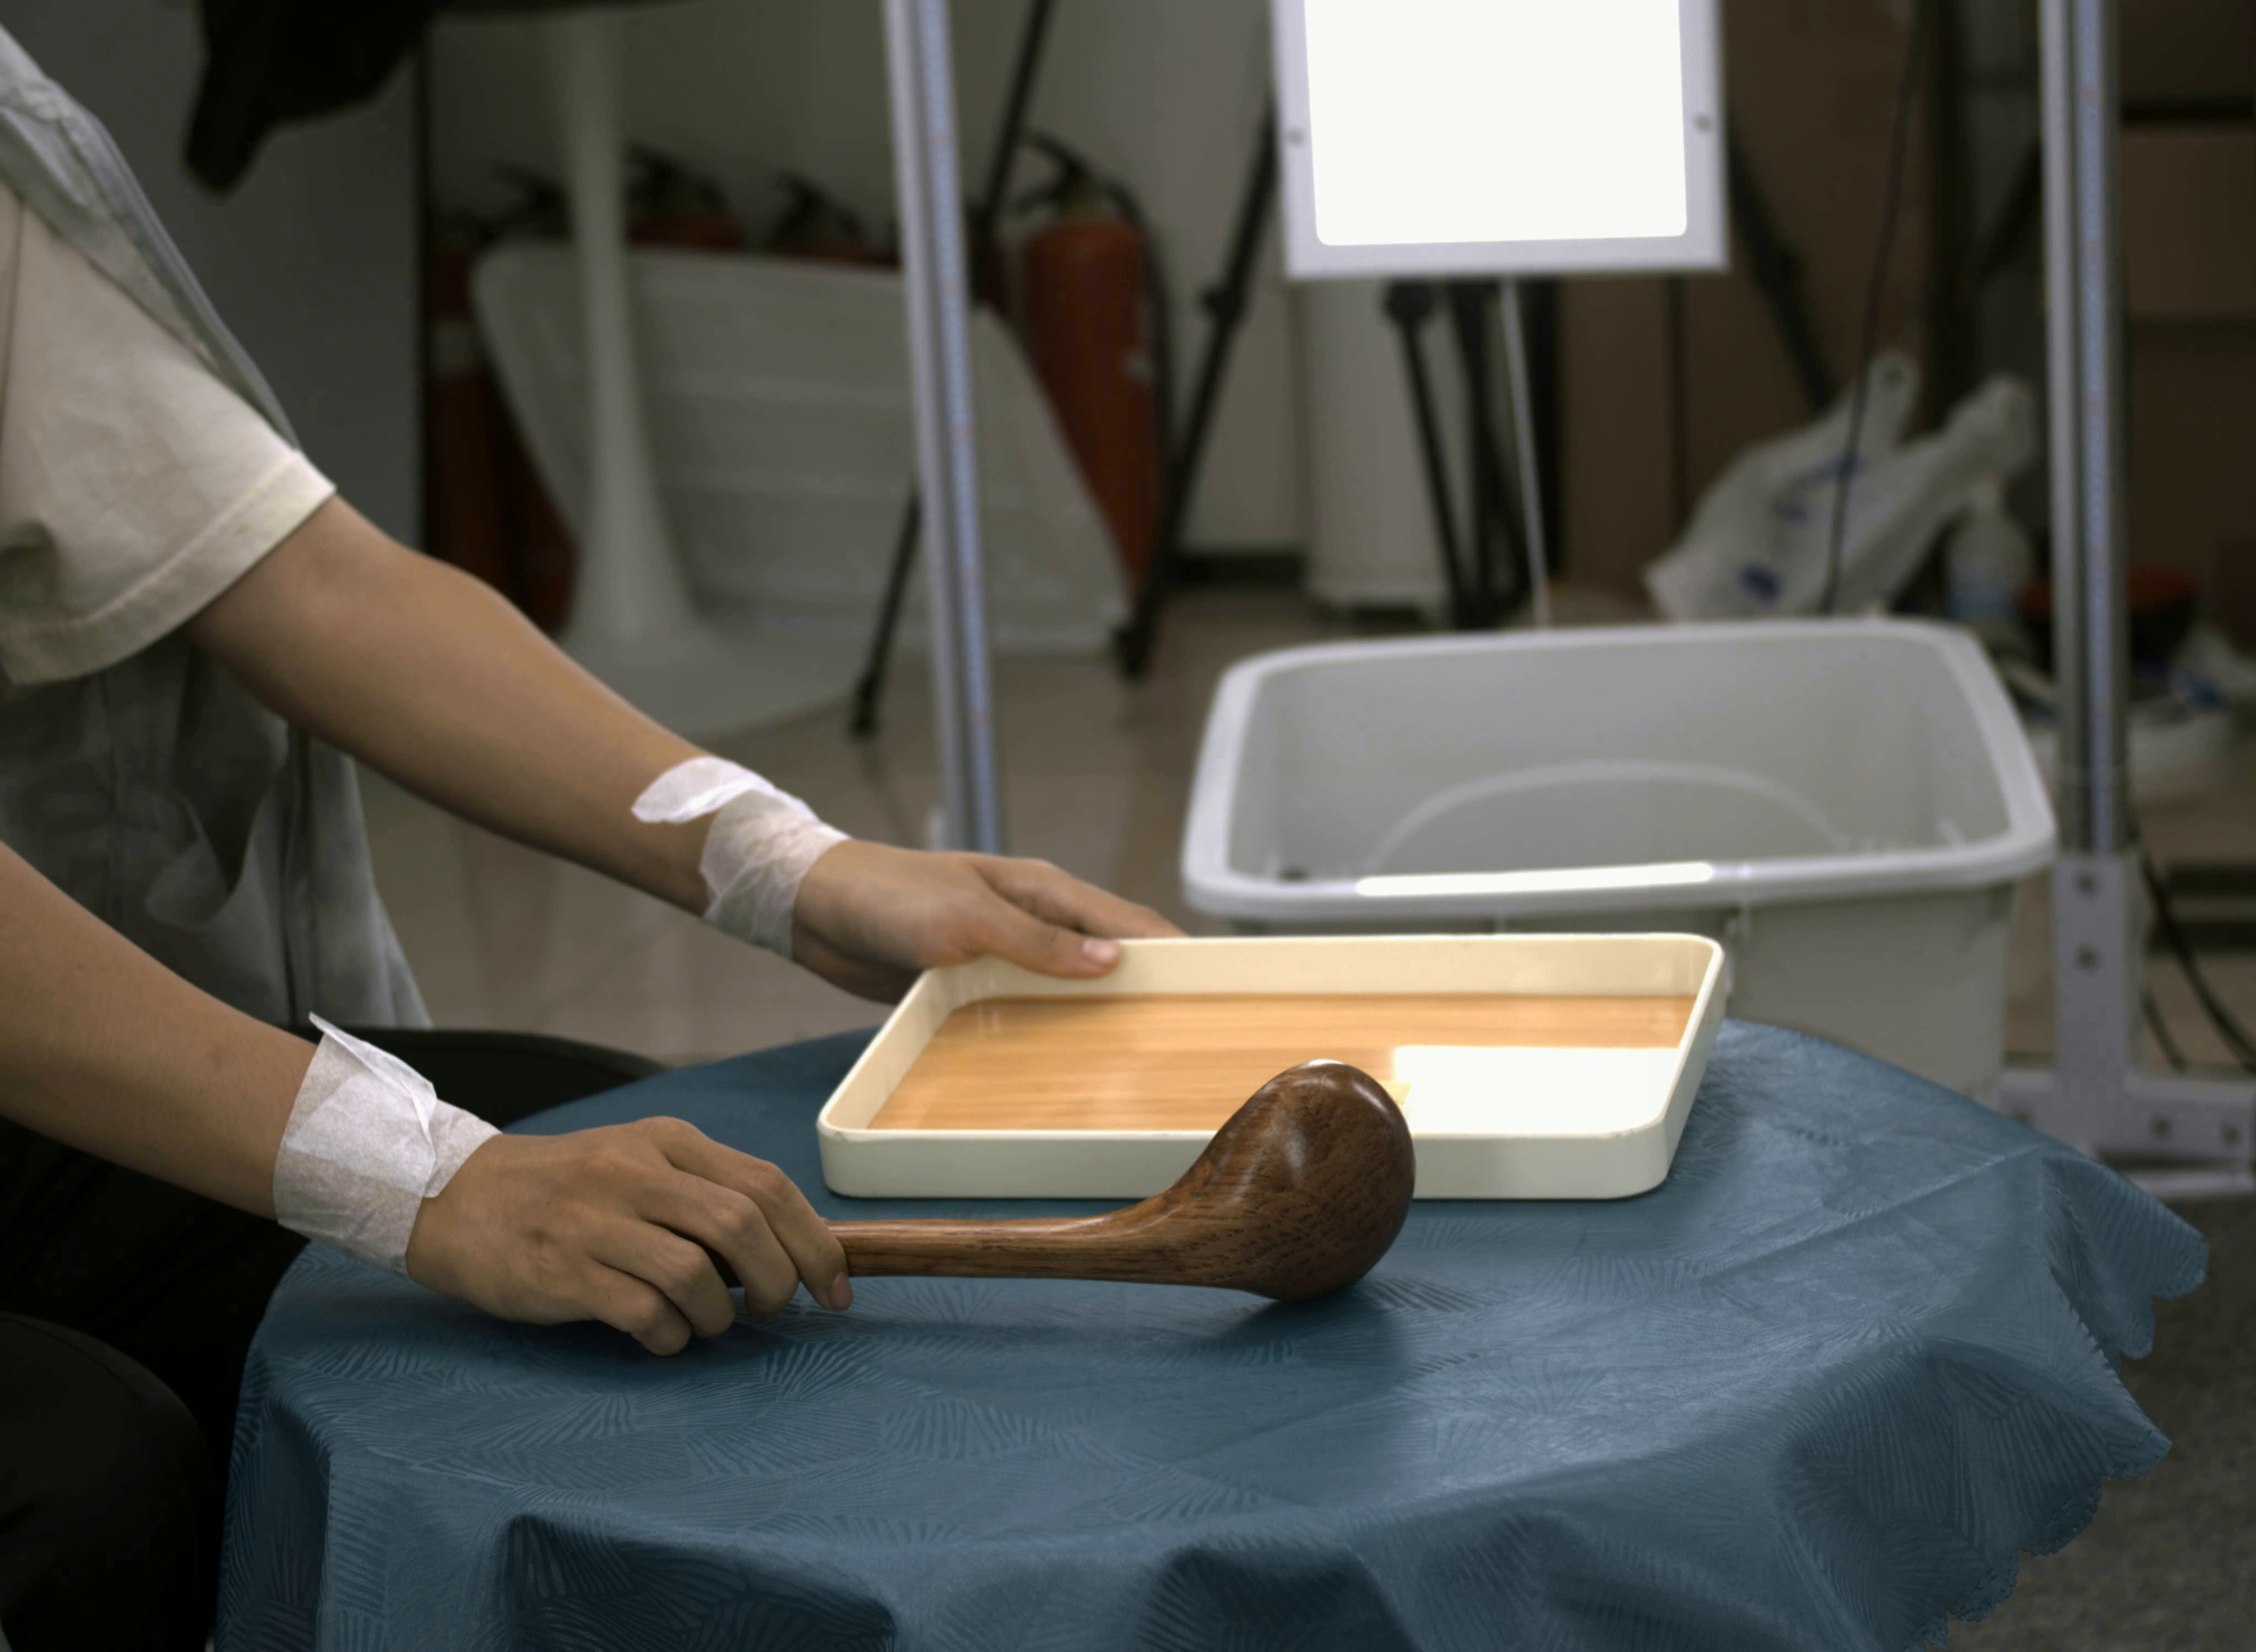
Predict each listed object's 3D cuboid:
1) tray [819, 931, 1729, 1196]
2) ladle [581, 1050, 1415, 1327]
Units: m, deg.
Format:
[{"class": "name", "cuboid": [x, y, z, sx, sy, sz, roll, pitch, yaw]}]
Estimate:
[{"class": "tray", "cuboid": [0.055, 0.084, 1.958, 0.303, 0.027, 0.189, -1, 20, 17]}, {"class": "ladle", "cuboid": [-0.042, 0.122, 1.793, 0.278, 0.082, 0.075, -5, 26, 20]}]
